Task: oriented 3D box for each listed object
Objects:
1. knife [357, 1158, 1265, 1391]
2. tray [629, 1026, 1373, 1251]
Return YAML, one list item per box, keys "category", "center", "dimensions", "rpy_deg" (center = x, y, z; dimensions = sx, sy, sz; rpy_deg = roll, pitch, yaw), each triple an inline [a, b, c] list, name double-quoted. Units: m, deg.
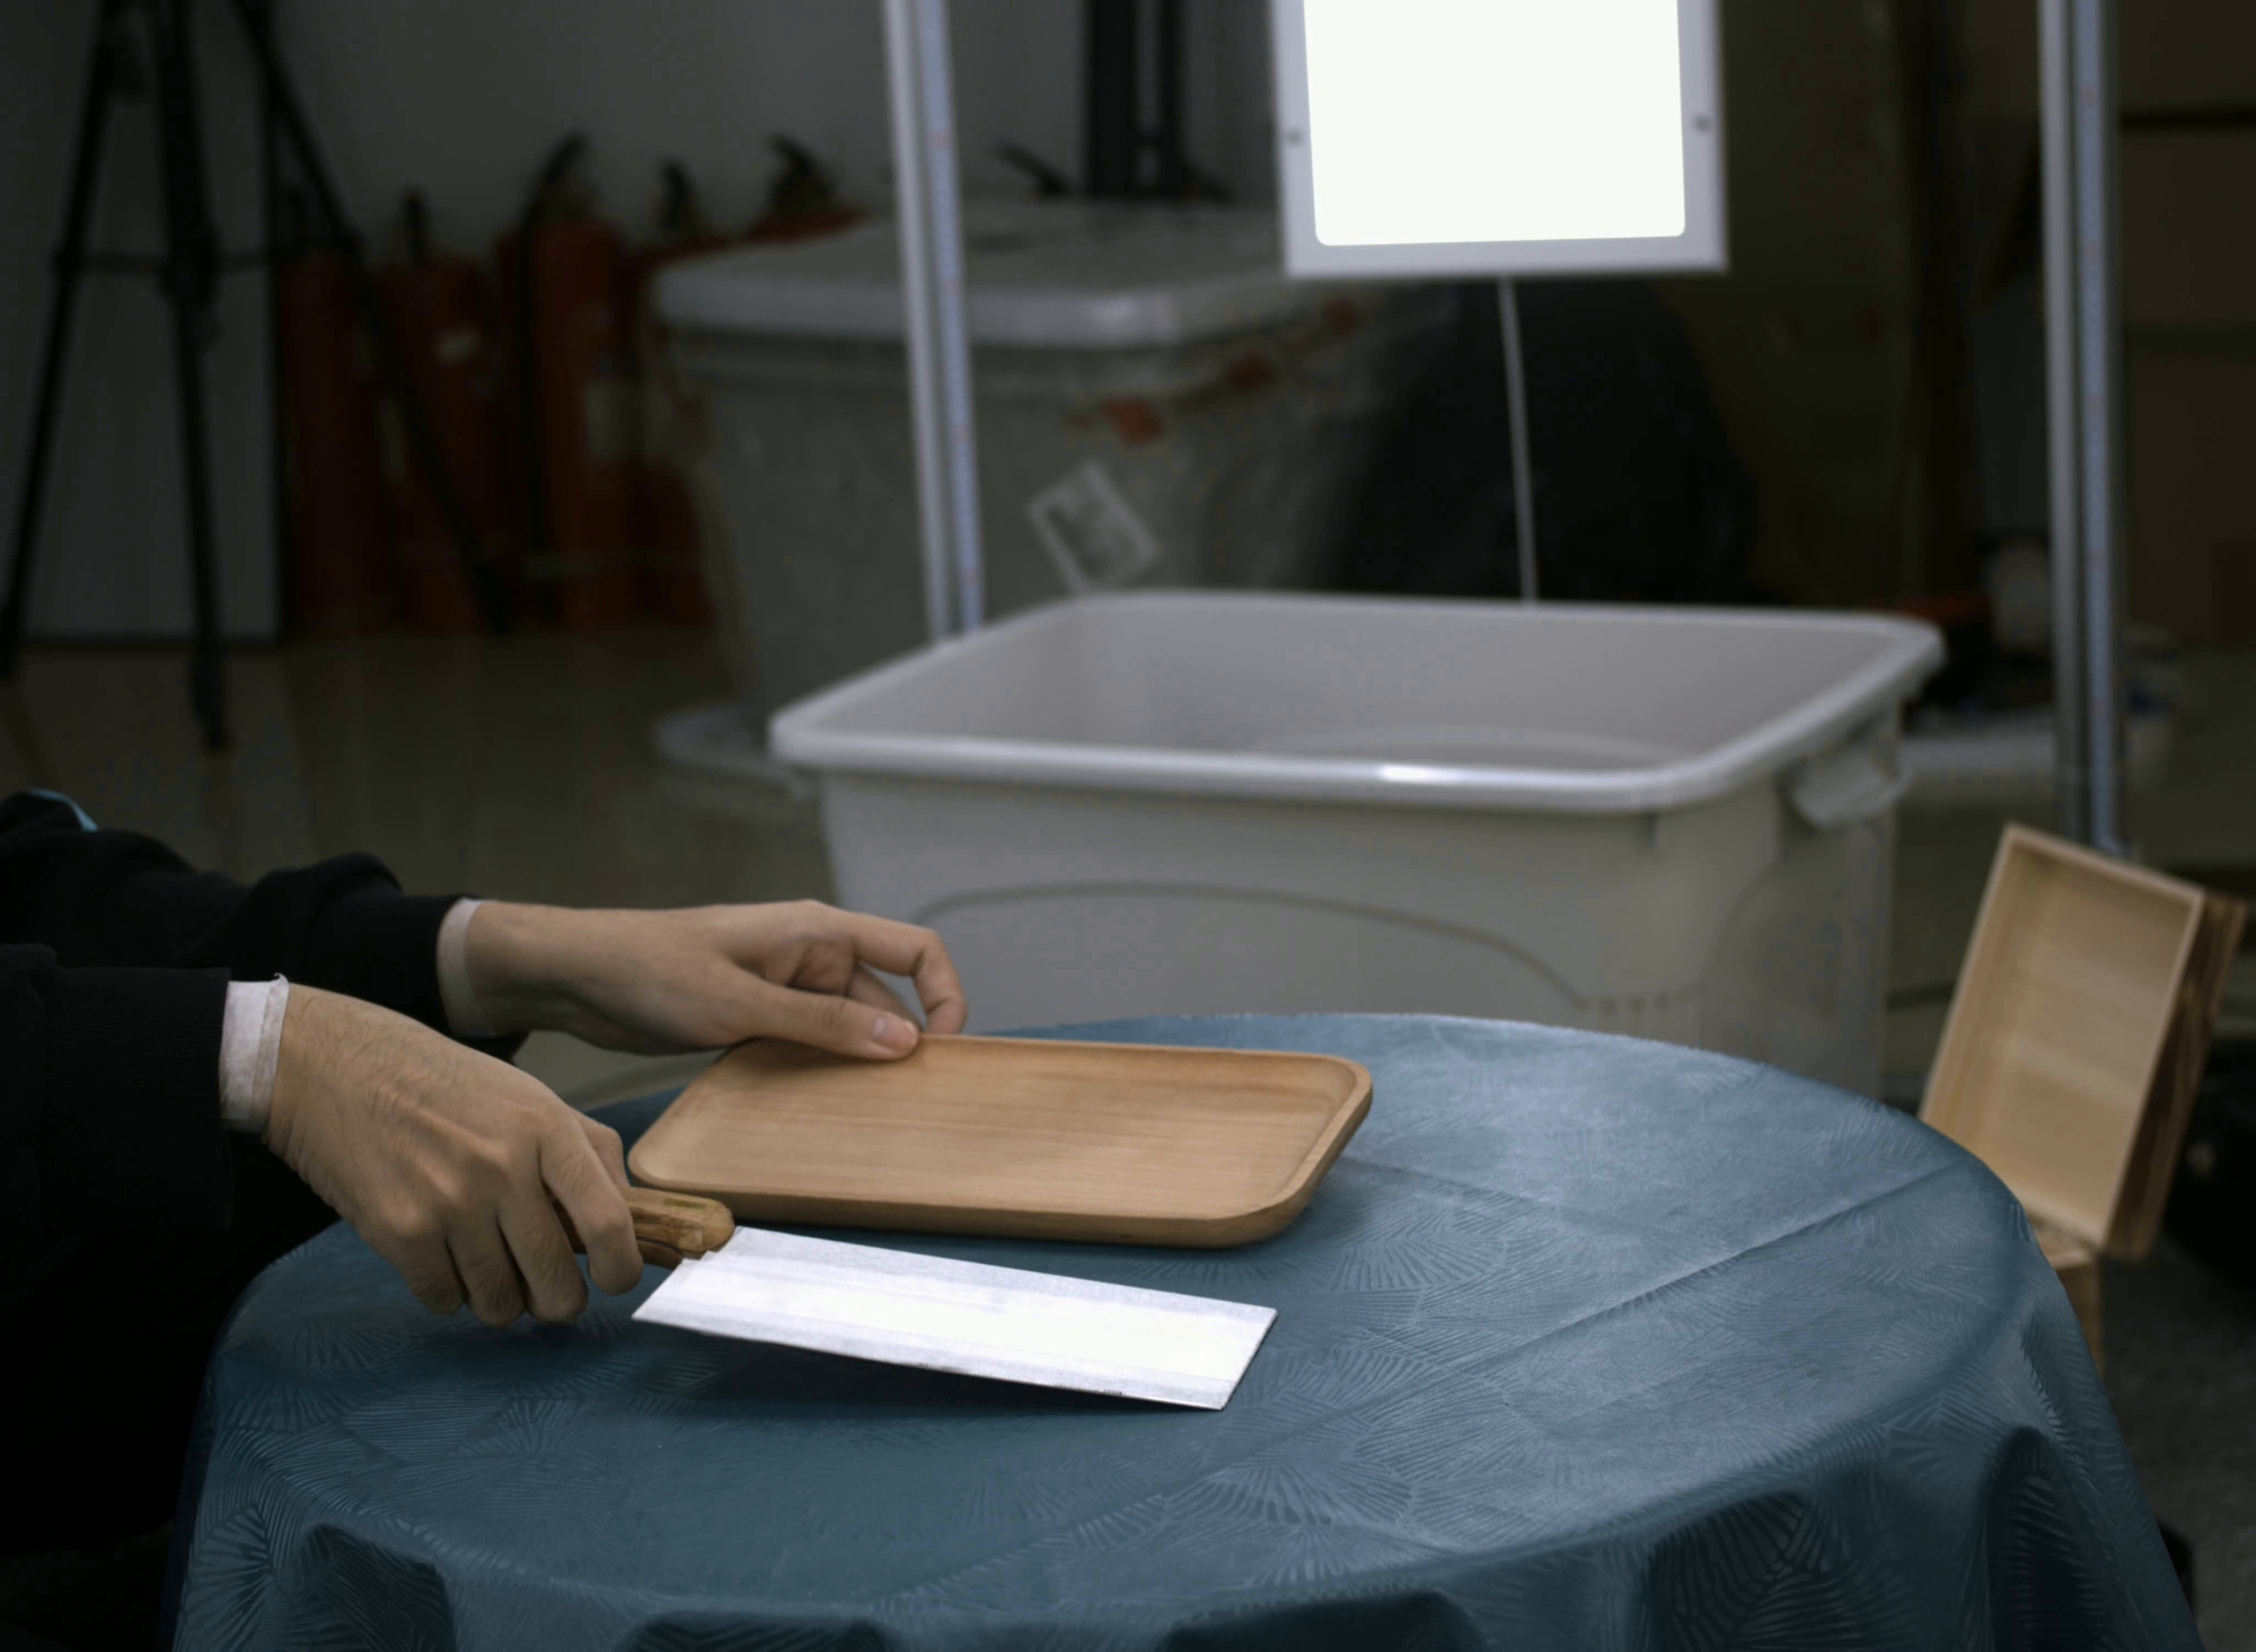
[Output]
- category: "knife"
  center: [-0.108, 0.146, 1.755]
  dimensions: [0.308, 0.021, 0.091]
  rpy_deg: [8, 17, 14]
- category: "tray"
  center: [-0.044, 0.108, 1.915]
  dimensions: [0.255, 0.023, 0.128]
  rpy_deg: [1, 23, 25]
